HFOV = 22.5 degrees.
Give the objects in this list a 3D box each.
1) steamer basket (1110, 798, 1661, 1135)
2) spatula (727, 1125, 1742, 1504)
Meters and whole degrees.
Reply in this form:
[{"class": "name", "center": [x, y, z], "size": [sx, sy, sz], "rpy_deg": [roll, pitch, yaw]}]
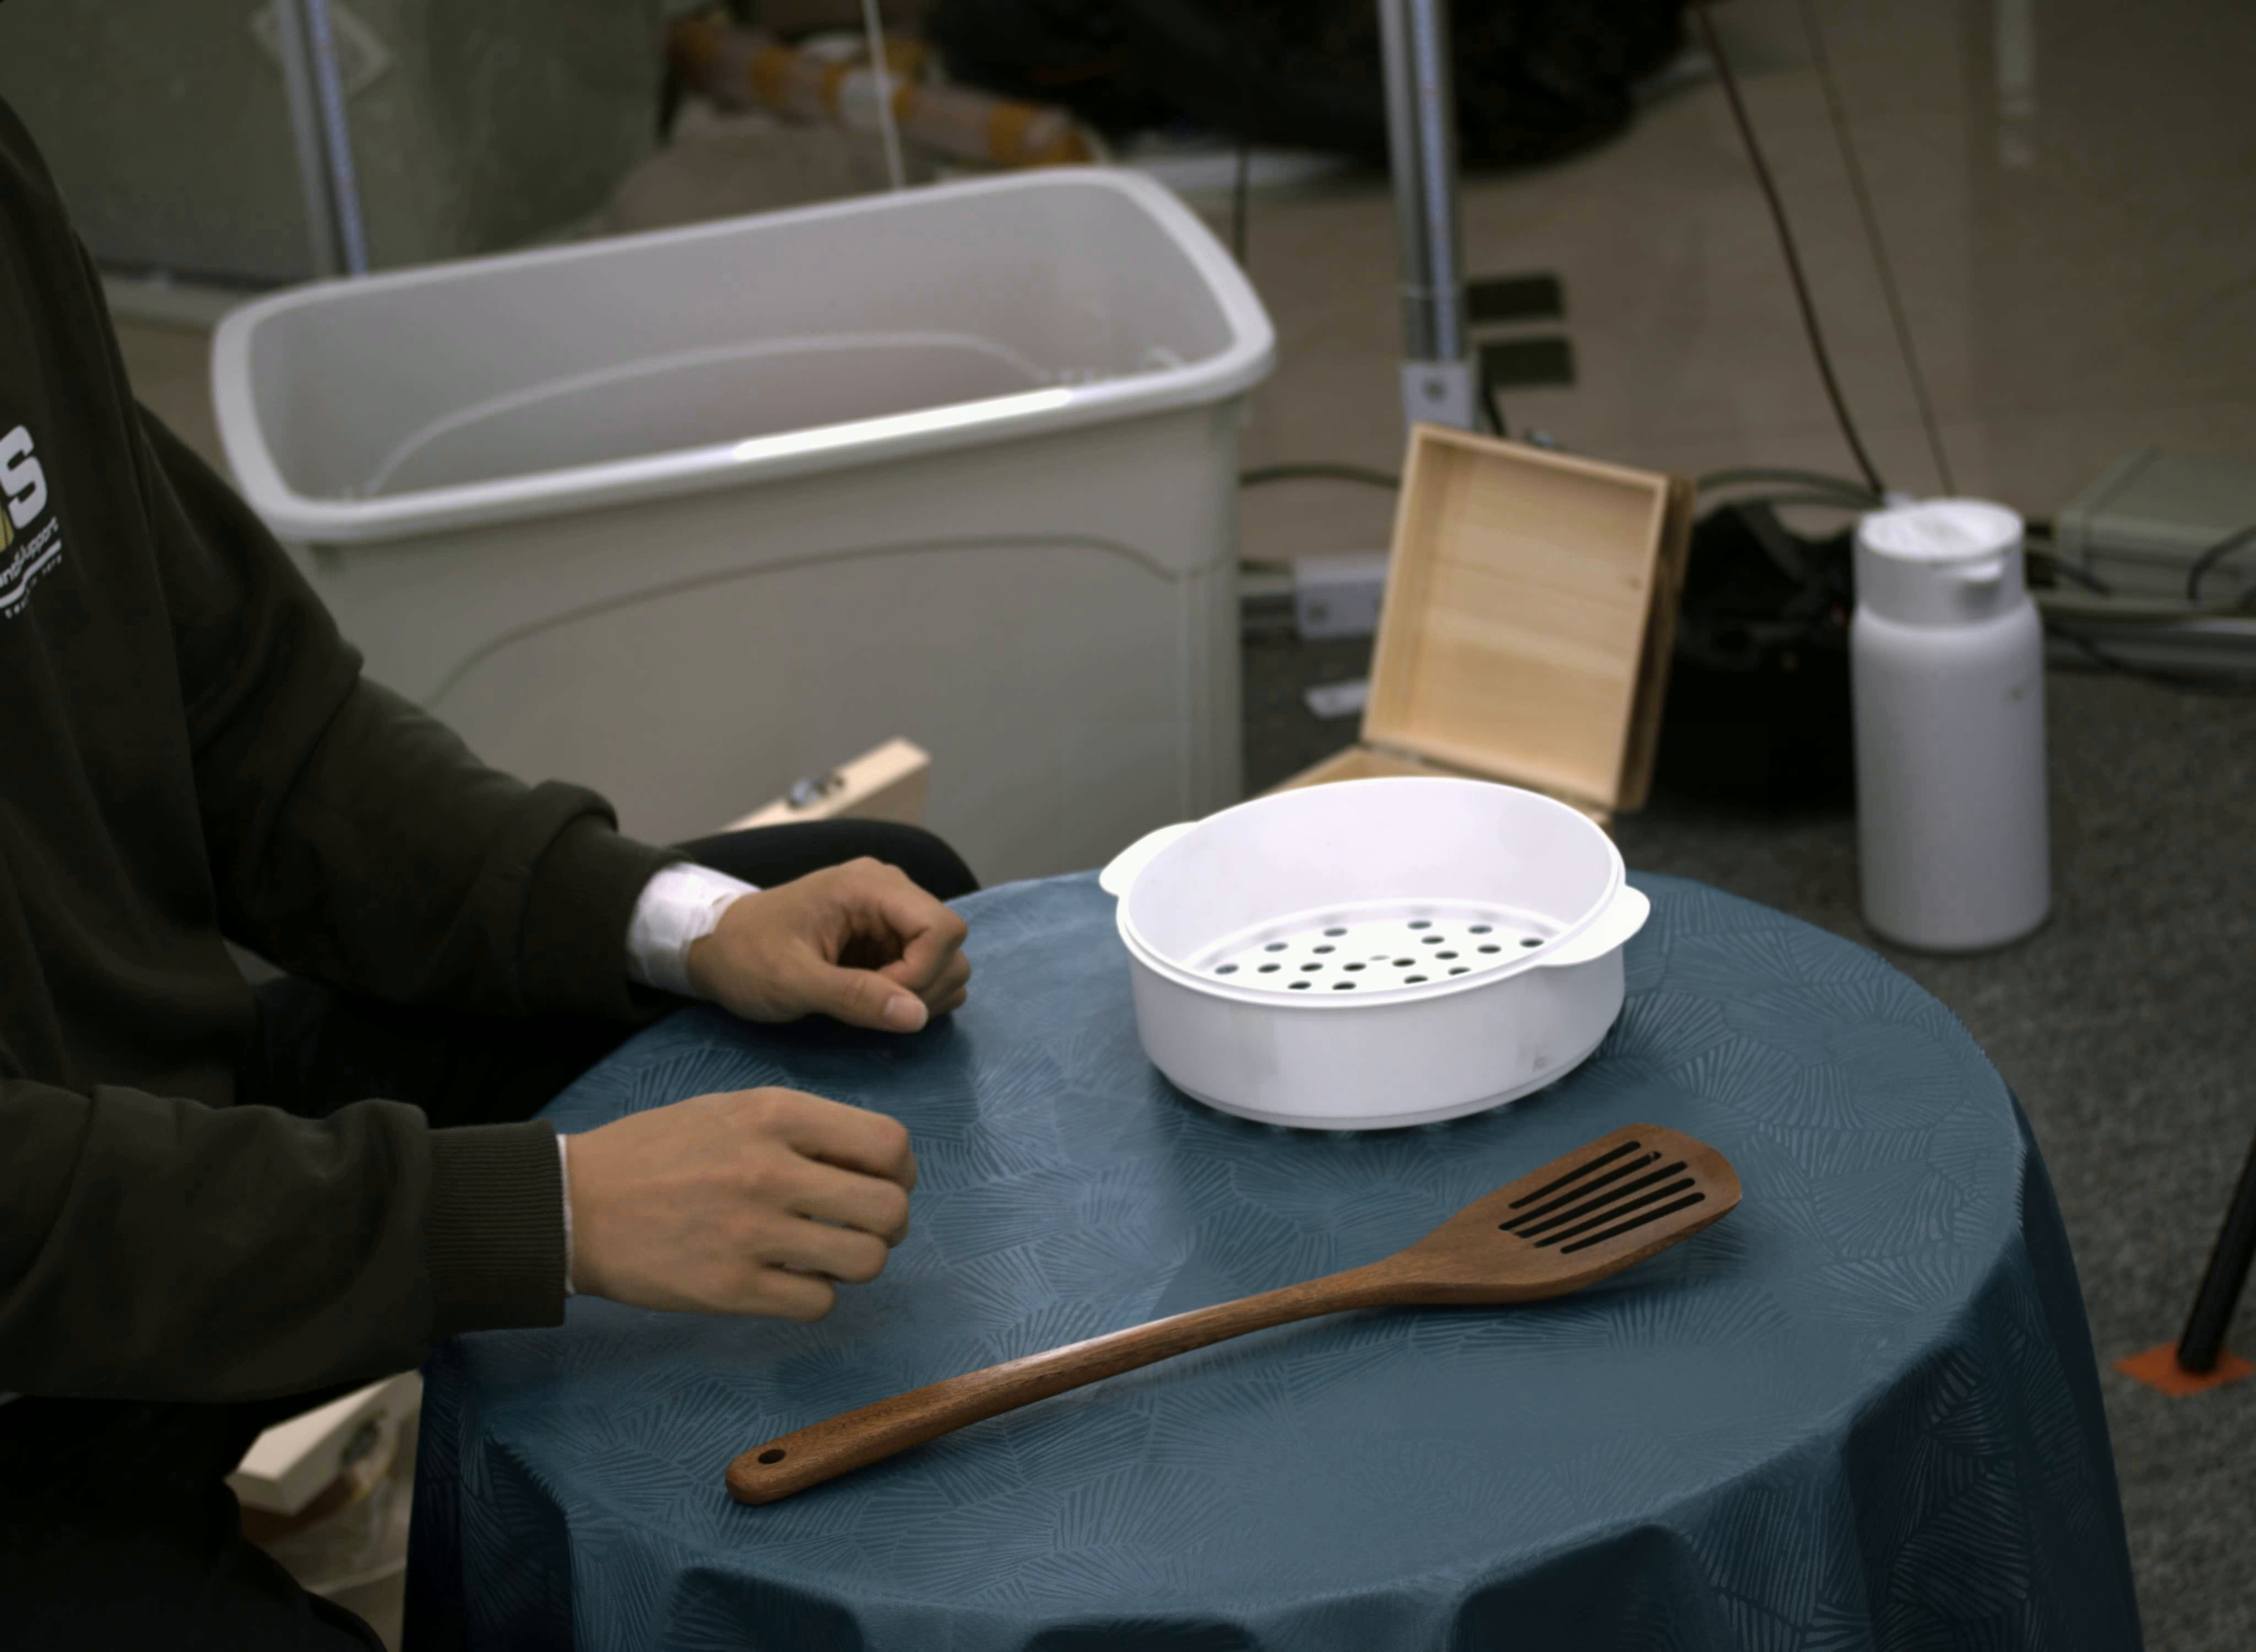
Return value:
[{"class": "steamer basket", "center": [0.103, 0.055, 2.234], "size": [0.230, 0.070, 0.200], "rpy_deg": [5, 25, 33]}, {"class": "spatula", "center": [0.039, 0.180, 2.029], "size": [0.384, 0.024, 0.085], "rpy_deg": [-16, 24, -17]}]
